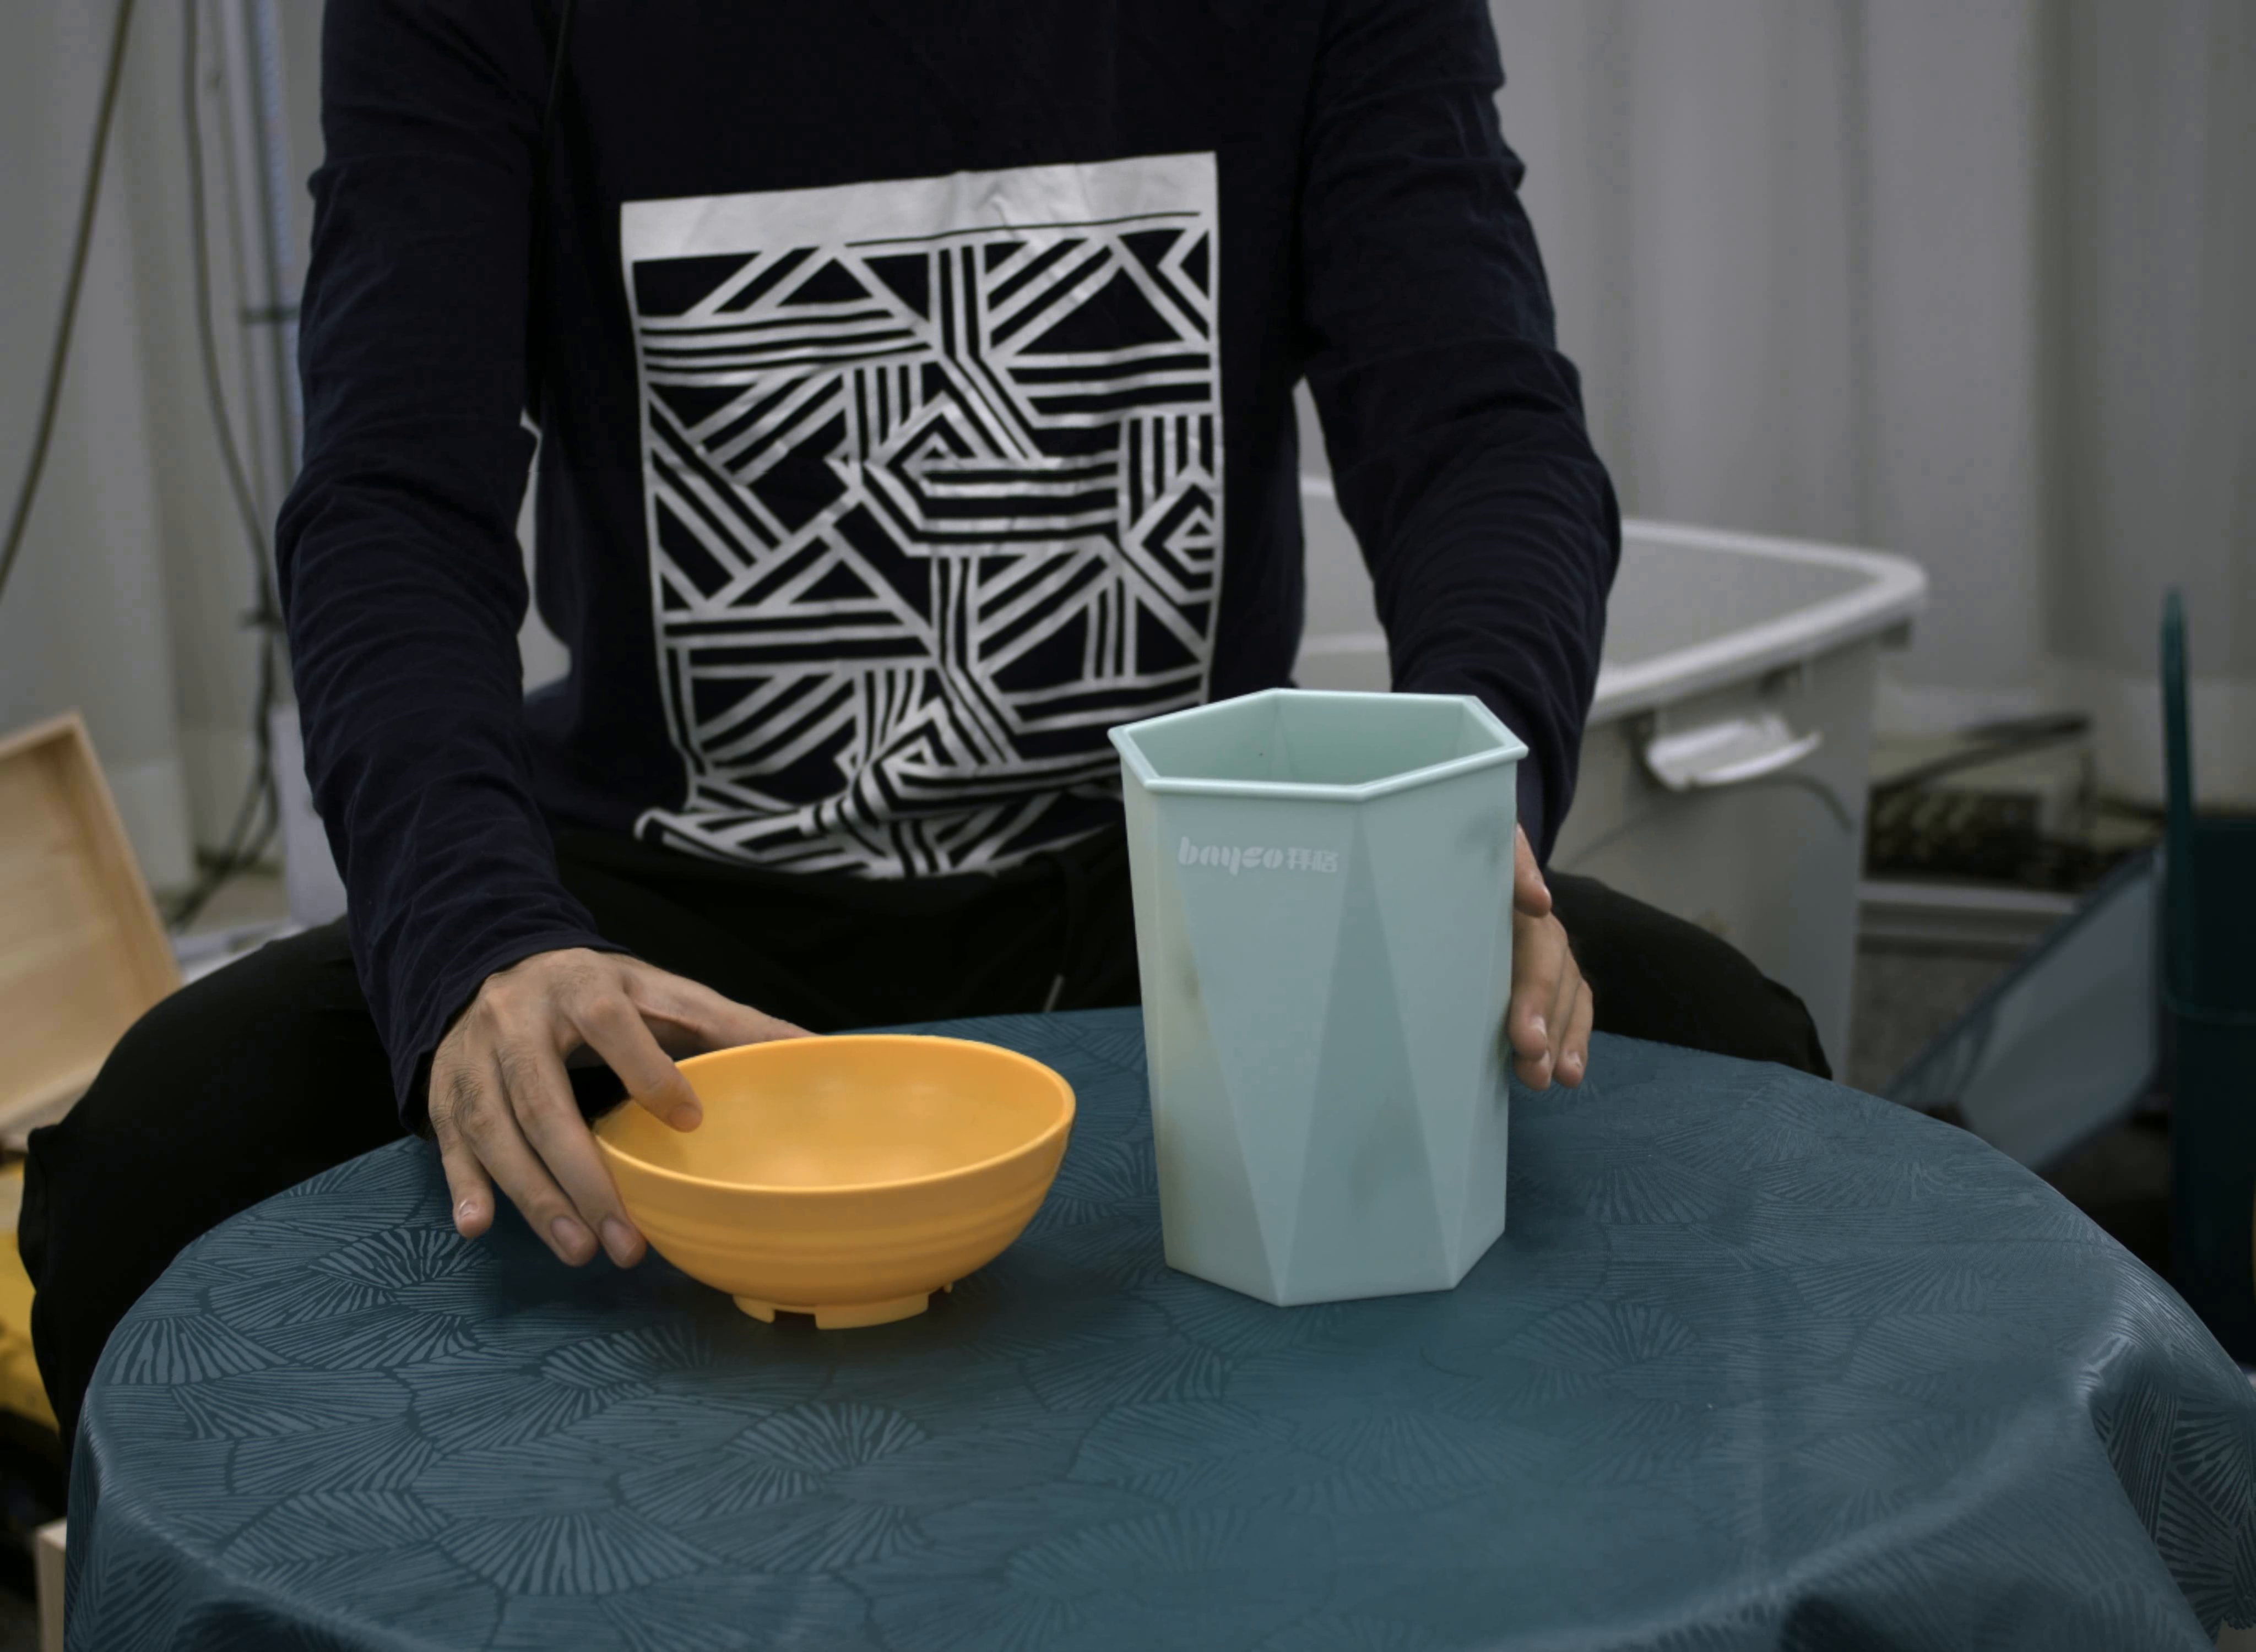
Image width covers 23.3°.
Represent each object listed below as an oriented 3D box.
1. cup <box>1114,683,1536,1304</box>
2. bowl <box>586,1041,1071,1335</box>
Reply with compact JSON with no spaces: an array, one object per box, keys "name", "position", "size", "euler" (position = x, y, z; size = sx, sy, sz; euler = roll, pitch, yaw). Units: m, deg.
[{"name":"cup","position":[0.059,0.050,1.632],"size":[0.131,0.162,0.115],"euler":[3,13,17]},{"name":"bowl","position":[-0.089,0.114,1.632],"size":[0.145,0.060,0.146],"euler":[0,14,0]}]
